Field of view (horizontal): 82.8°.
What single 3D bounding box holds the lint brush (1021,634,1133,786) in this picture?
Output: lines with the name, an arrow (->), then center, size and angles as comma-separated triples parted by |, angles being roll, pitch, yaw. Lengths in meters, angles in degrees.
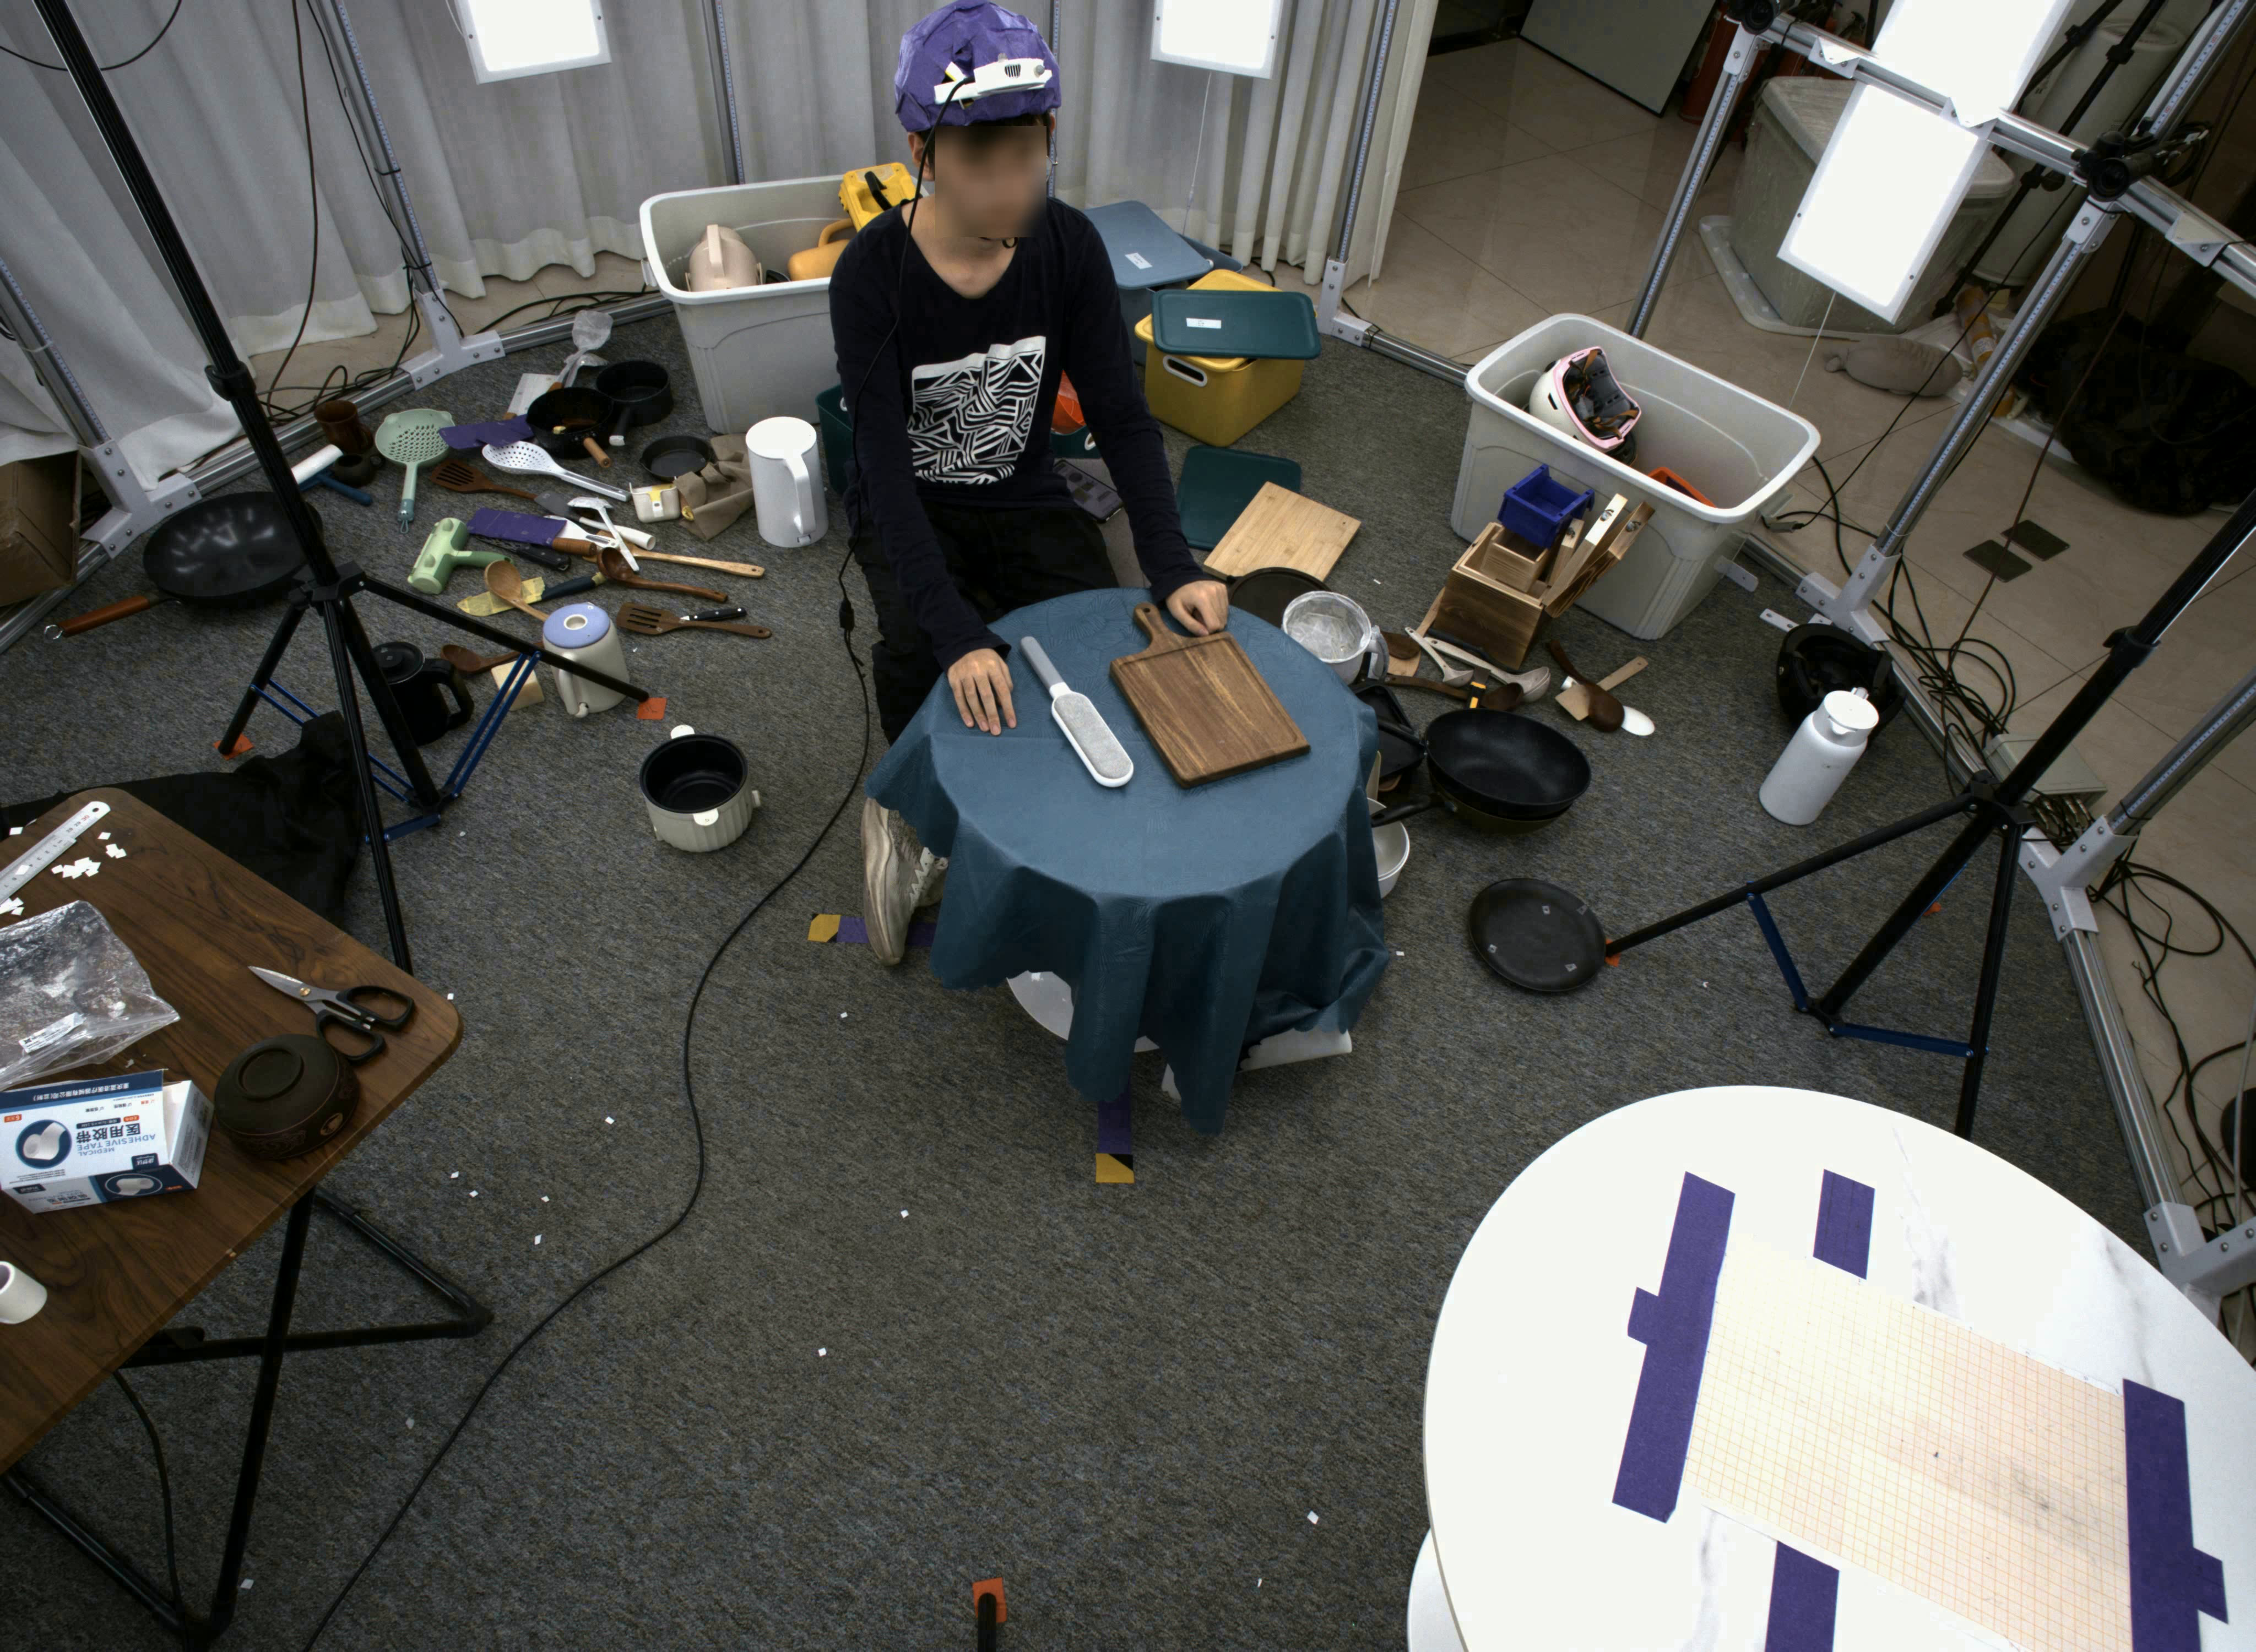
lint brush -> -0.078, -0.168, 1.790 | 0.060, 0.020, 0.316 | -22, 54, -15

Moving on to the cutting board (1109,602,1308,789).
cutting board -> 0.091, -0.206, 1.840 | 0.201, 0.022, 0.360 | -16, 52, -17
